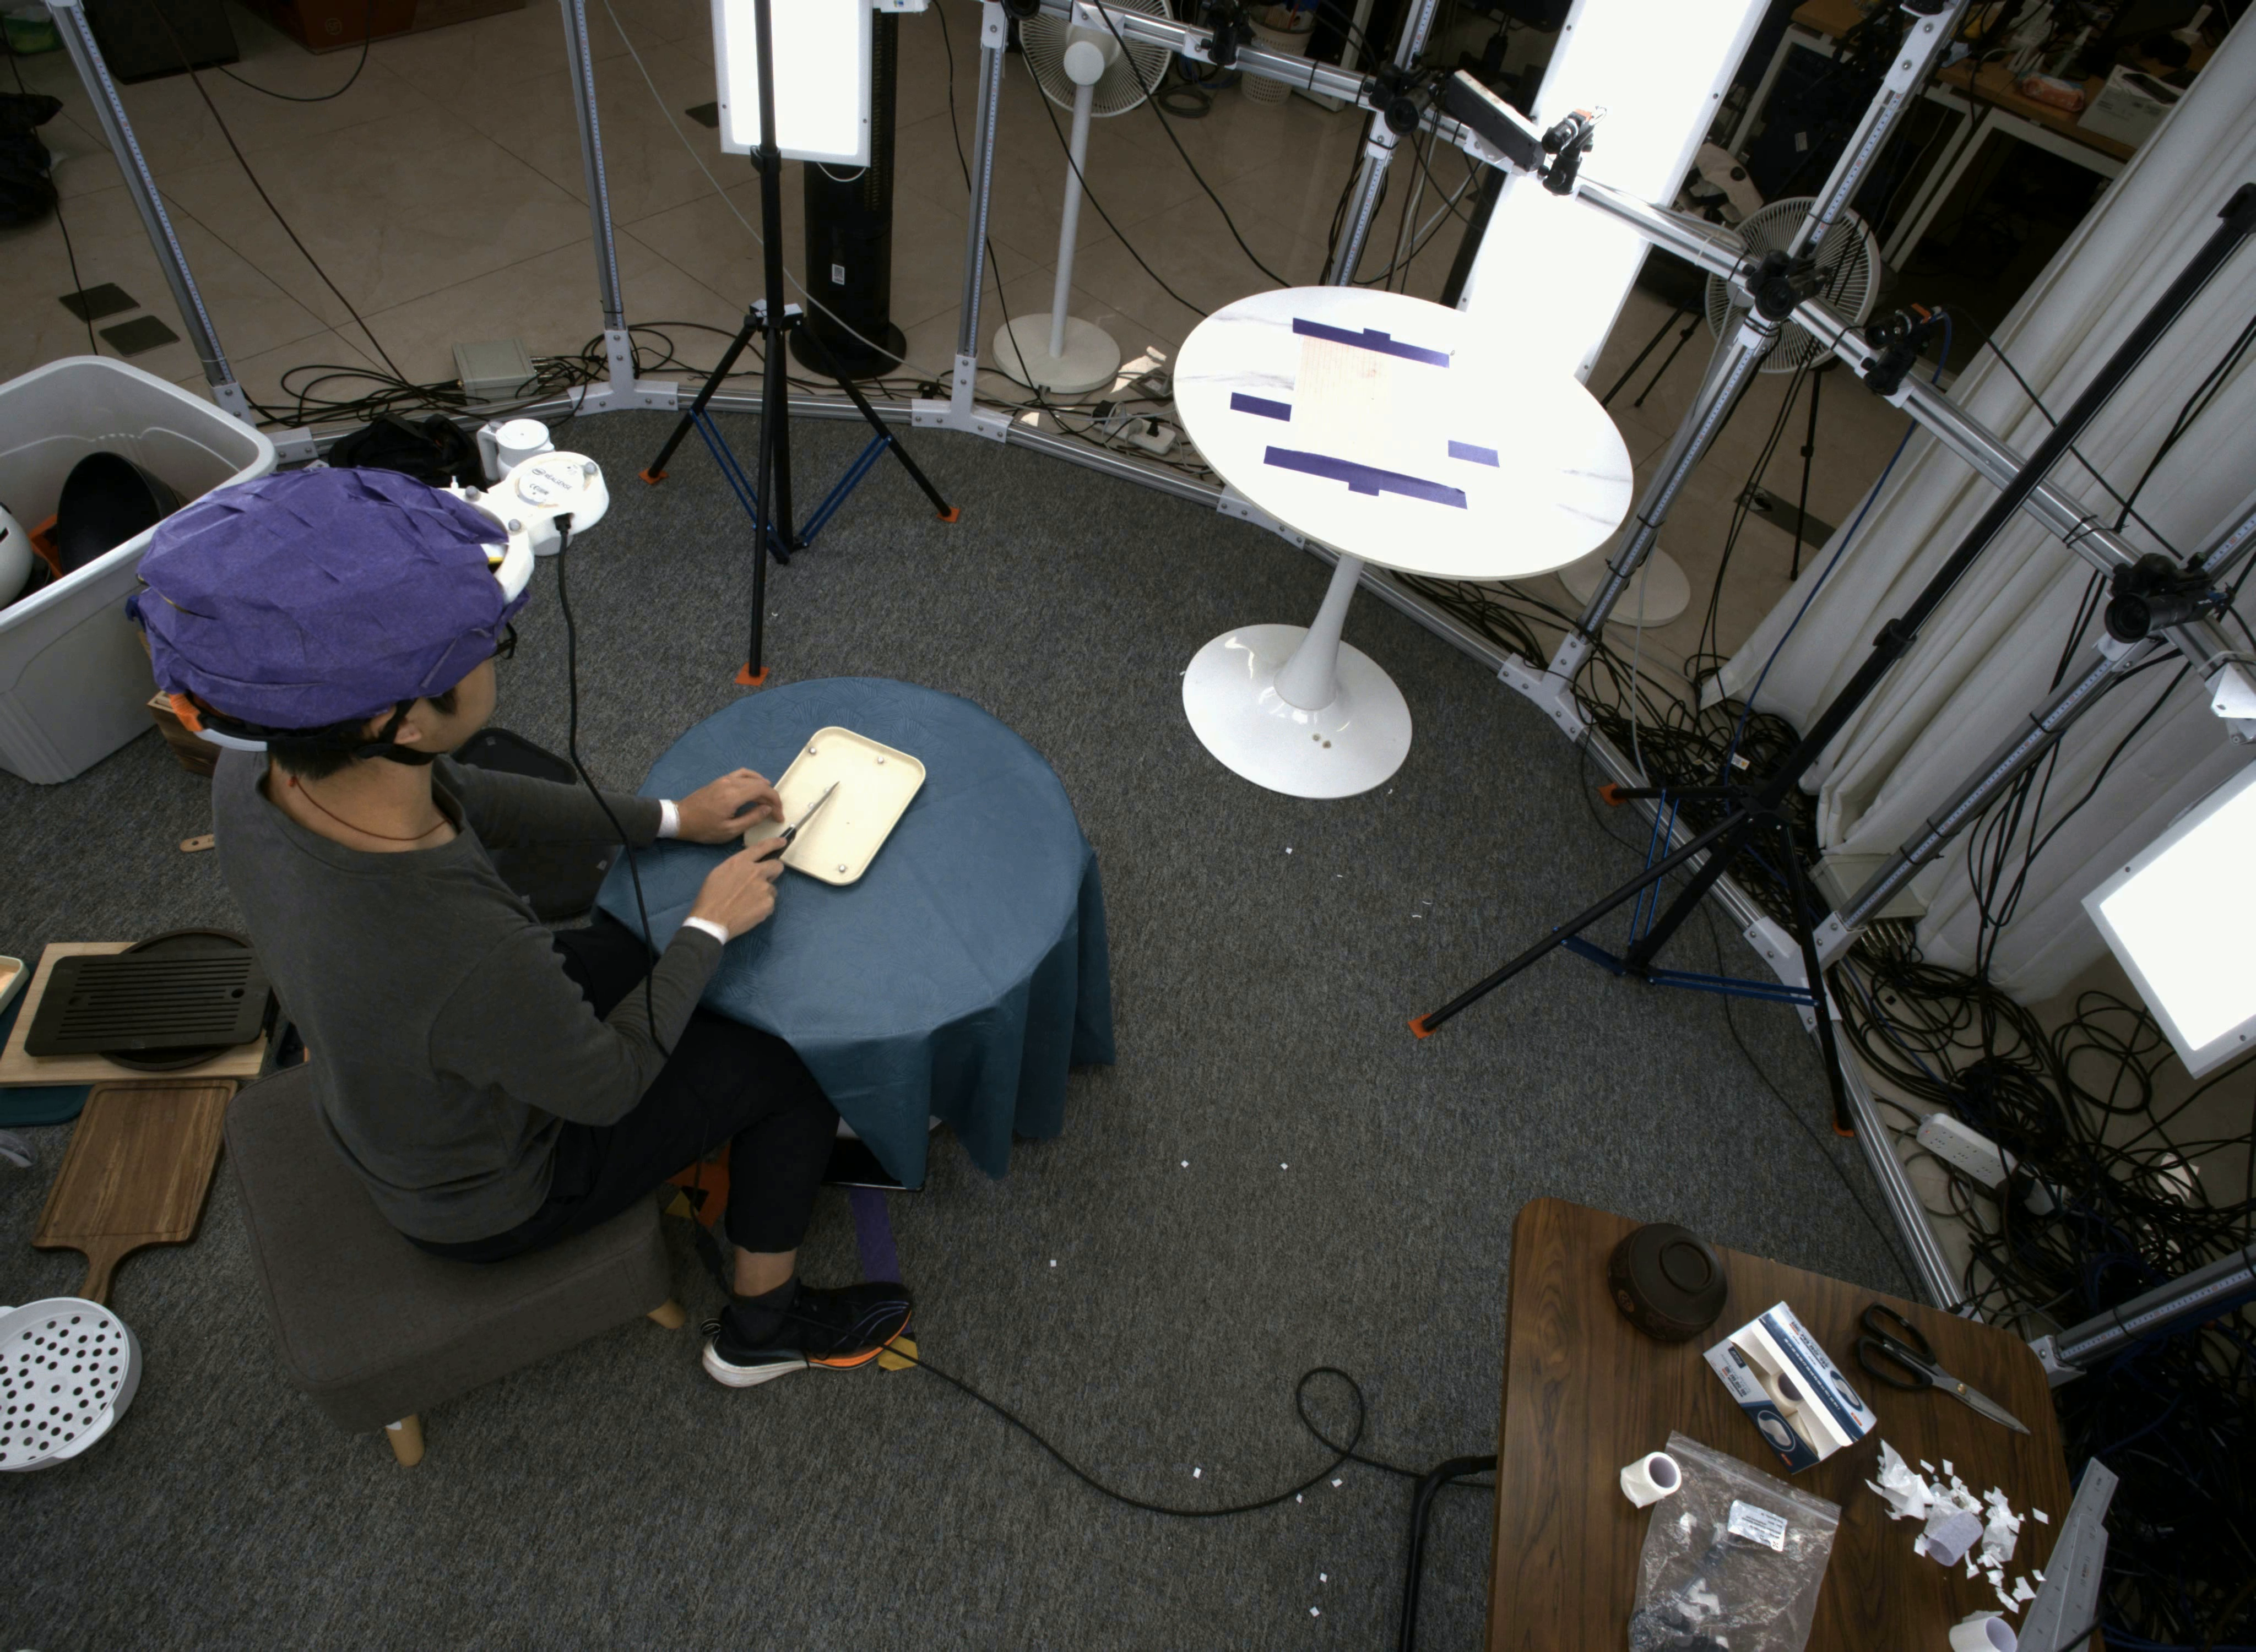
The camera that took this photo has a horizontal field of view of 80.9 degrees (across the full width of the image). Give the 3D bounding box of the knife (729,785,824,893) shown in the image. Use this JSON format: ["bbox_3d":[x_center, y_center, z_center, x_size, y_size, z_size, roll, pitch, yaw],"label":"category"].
[{"bbox_3d":[-0.451,0.007,1.683,0.016,0.025,0.236,24,39,3],"label":"knife"}]

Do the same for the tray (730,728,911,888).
[{"bbox_3d":[-0.411,-0.027,1.747,0.169,0.018,0.237,23,52,2],"label":"tray"}]
